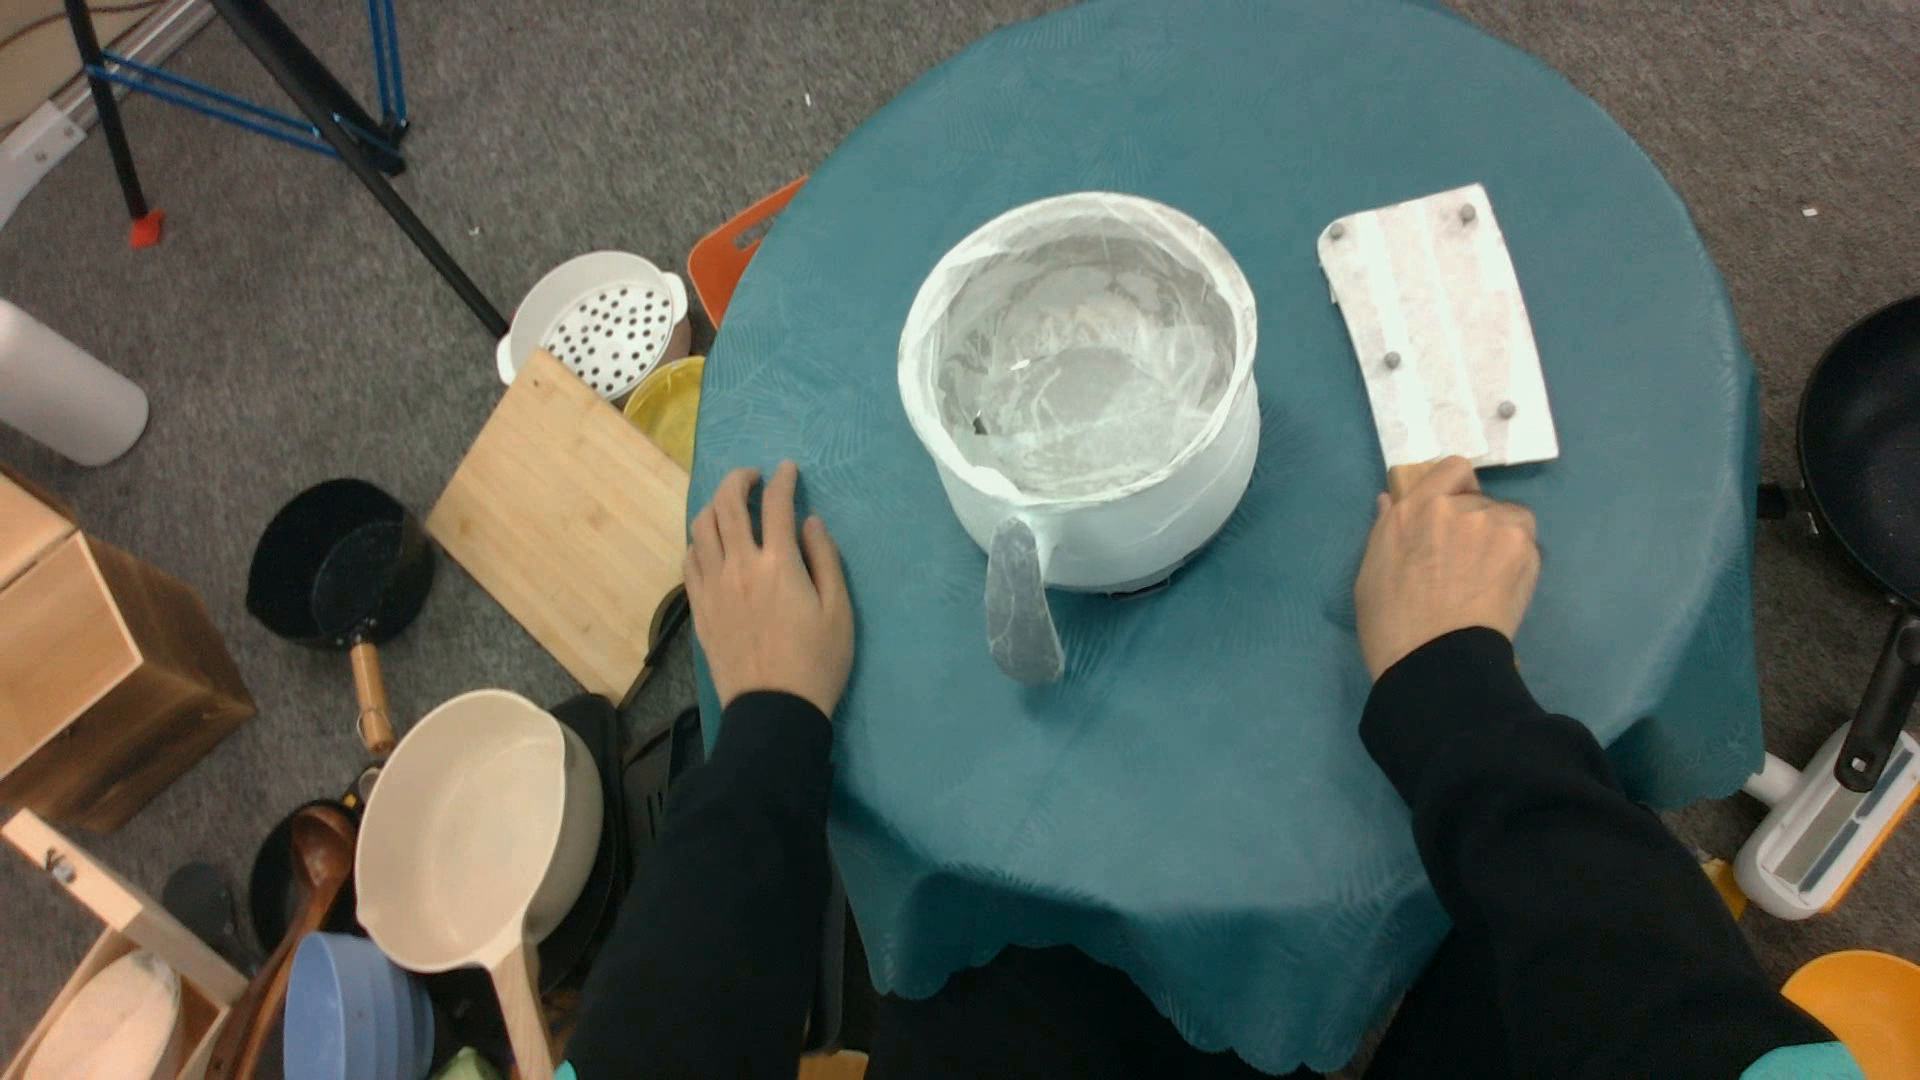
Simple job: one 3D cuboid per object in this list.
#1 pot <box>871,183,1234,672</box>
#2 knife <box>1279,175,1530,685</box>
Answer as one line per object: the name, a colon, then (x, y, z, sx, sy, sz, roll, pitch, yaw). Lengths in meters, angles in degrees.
pot: (0.048, -0.053, 0.721, 0.178, 0.136, 0.234, 9, 69, 17)
knife: (0.245, -0.071, 0.748, 0.114, 0.021, 0.316, -6, 62, 10)
